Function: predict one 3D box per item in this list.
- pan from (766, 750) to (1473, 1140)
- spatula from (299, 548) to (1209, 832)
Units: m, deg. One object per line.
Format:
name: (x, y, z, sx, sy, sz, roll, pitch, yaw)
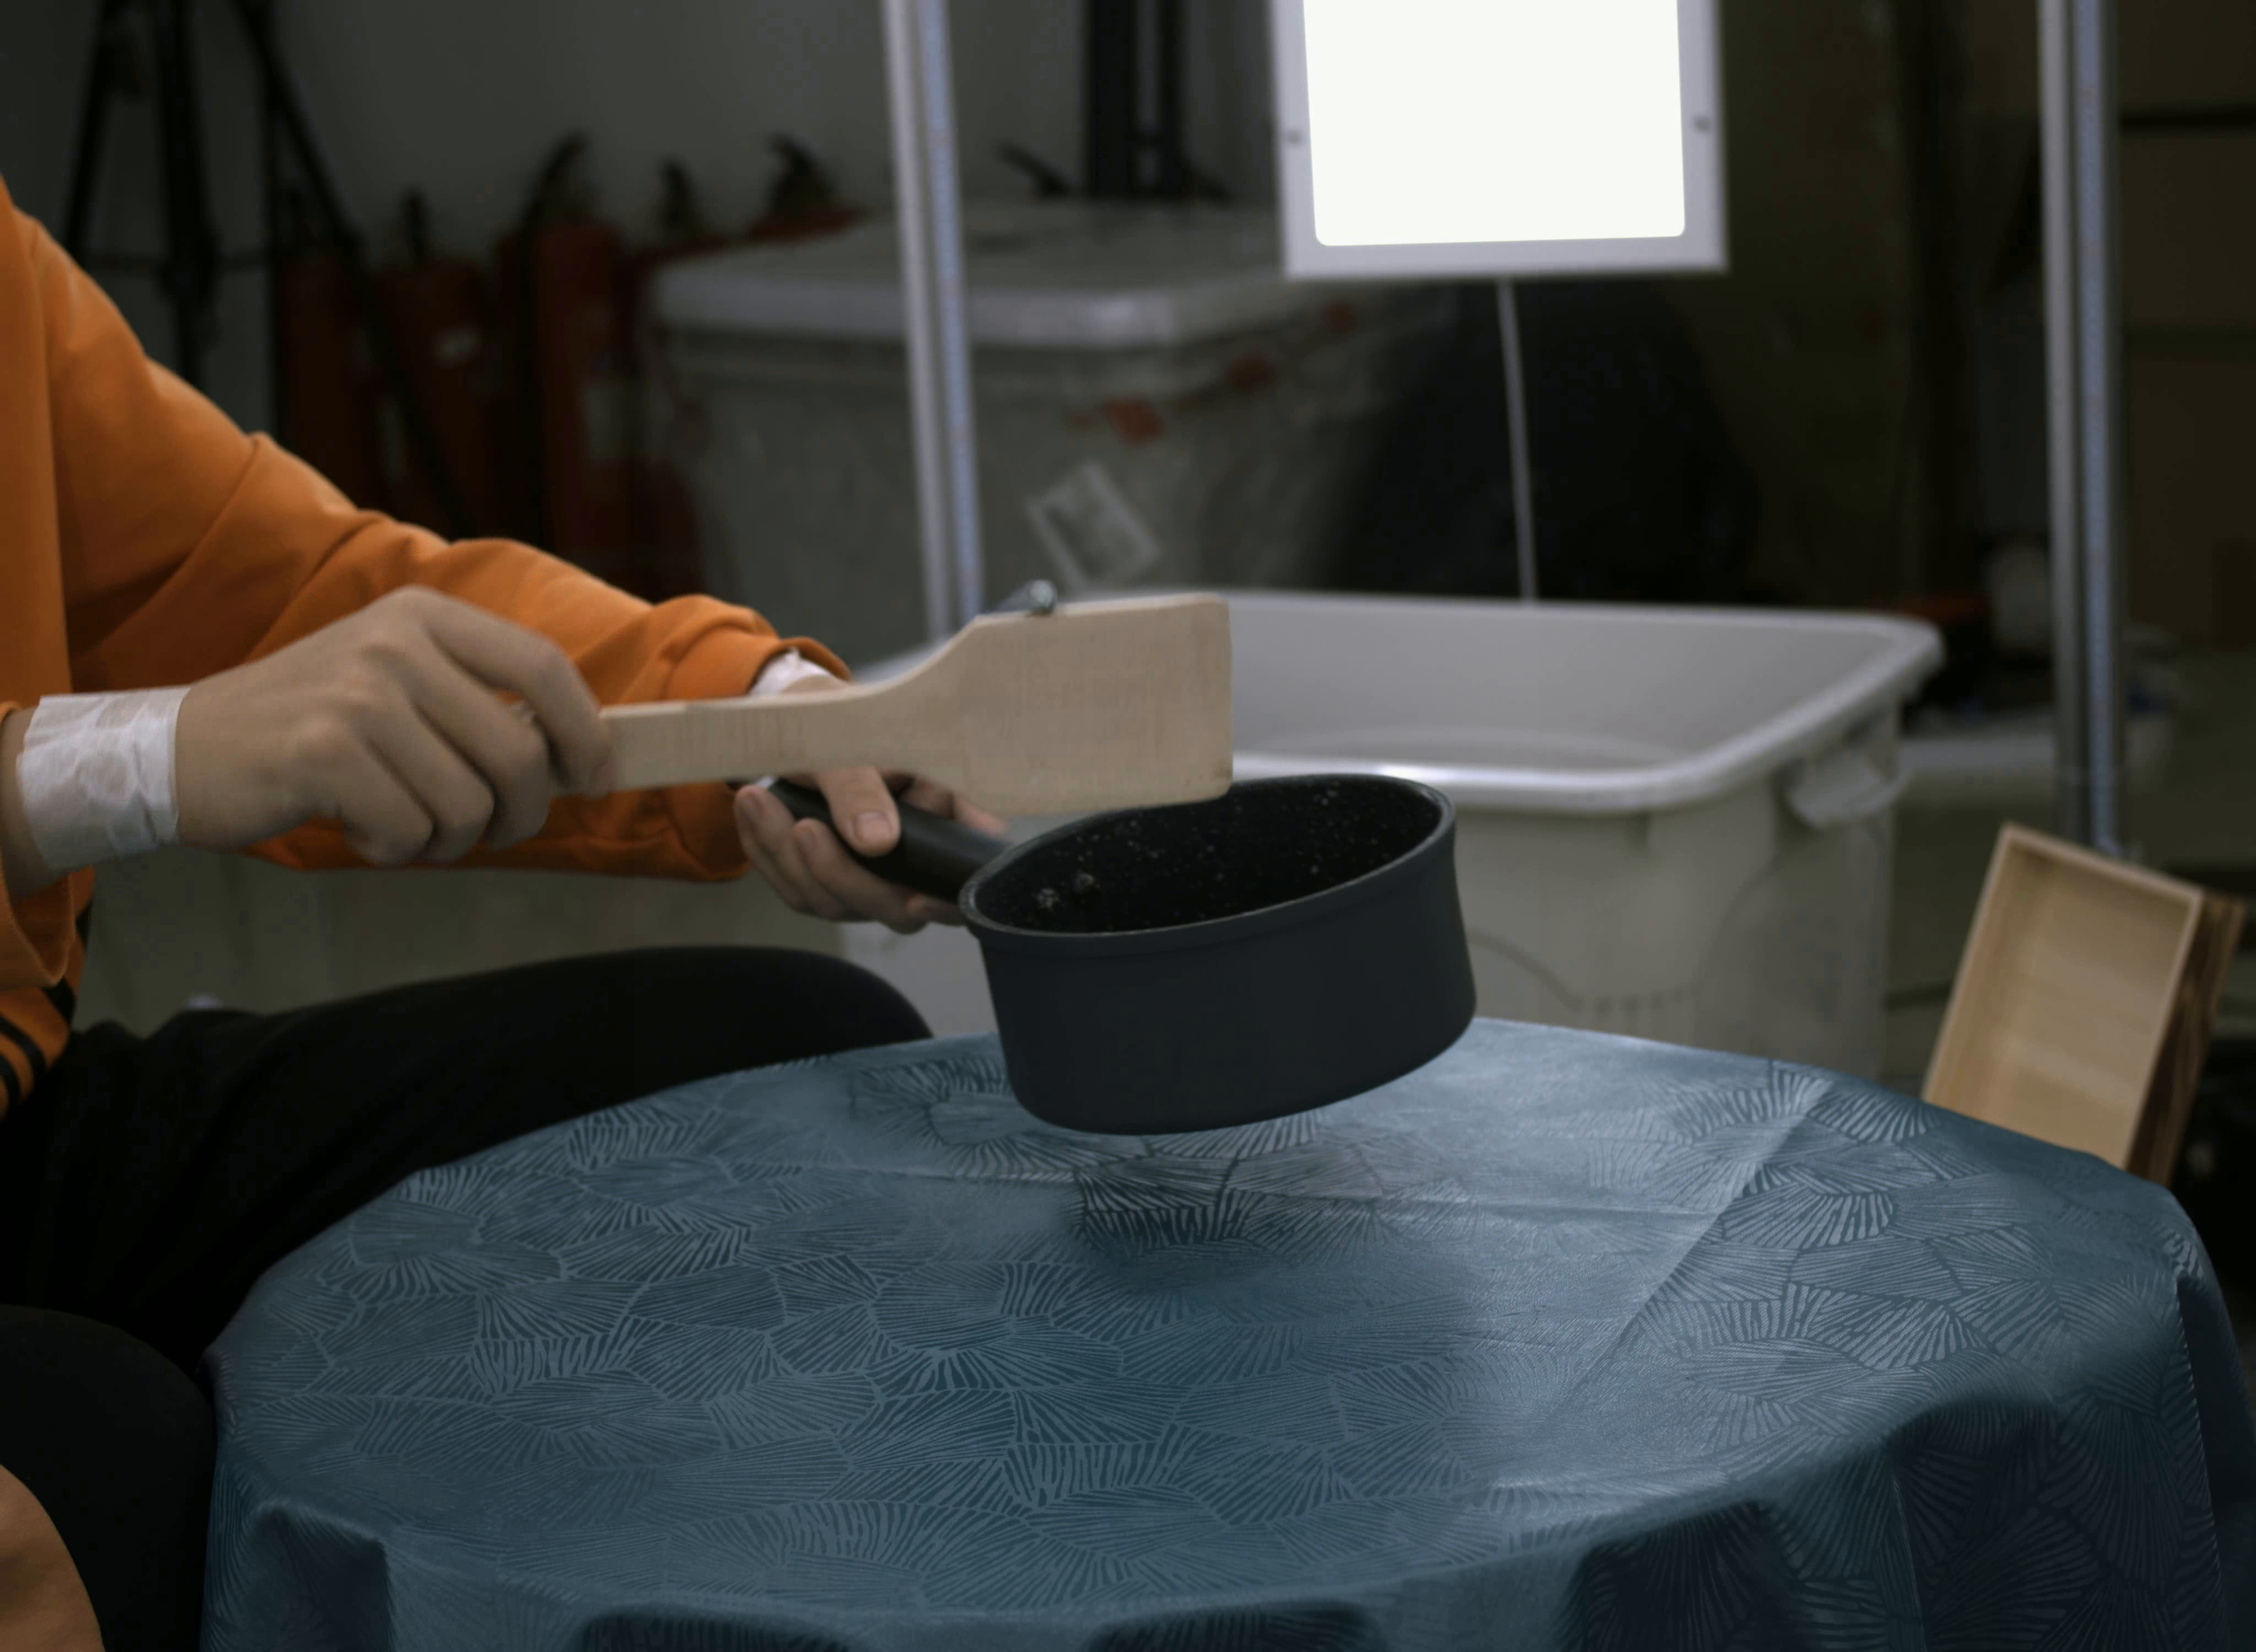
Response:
pan: (-0.018, 0.033, 1.936, 0.168, 0.086, 0.335, -22, 19, -34)
spatula: (-0.117, -0.034, 1.748, 0.291, 0.072, 0.011, -9, 22, -6)
